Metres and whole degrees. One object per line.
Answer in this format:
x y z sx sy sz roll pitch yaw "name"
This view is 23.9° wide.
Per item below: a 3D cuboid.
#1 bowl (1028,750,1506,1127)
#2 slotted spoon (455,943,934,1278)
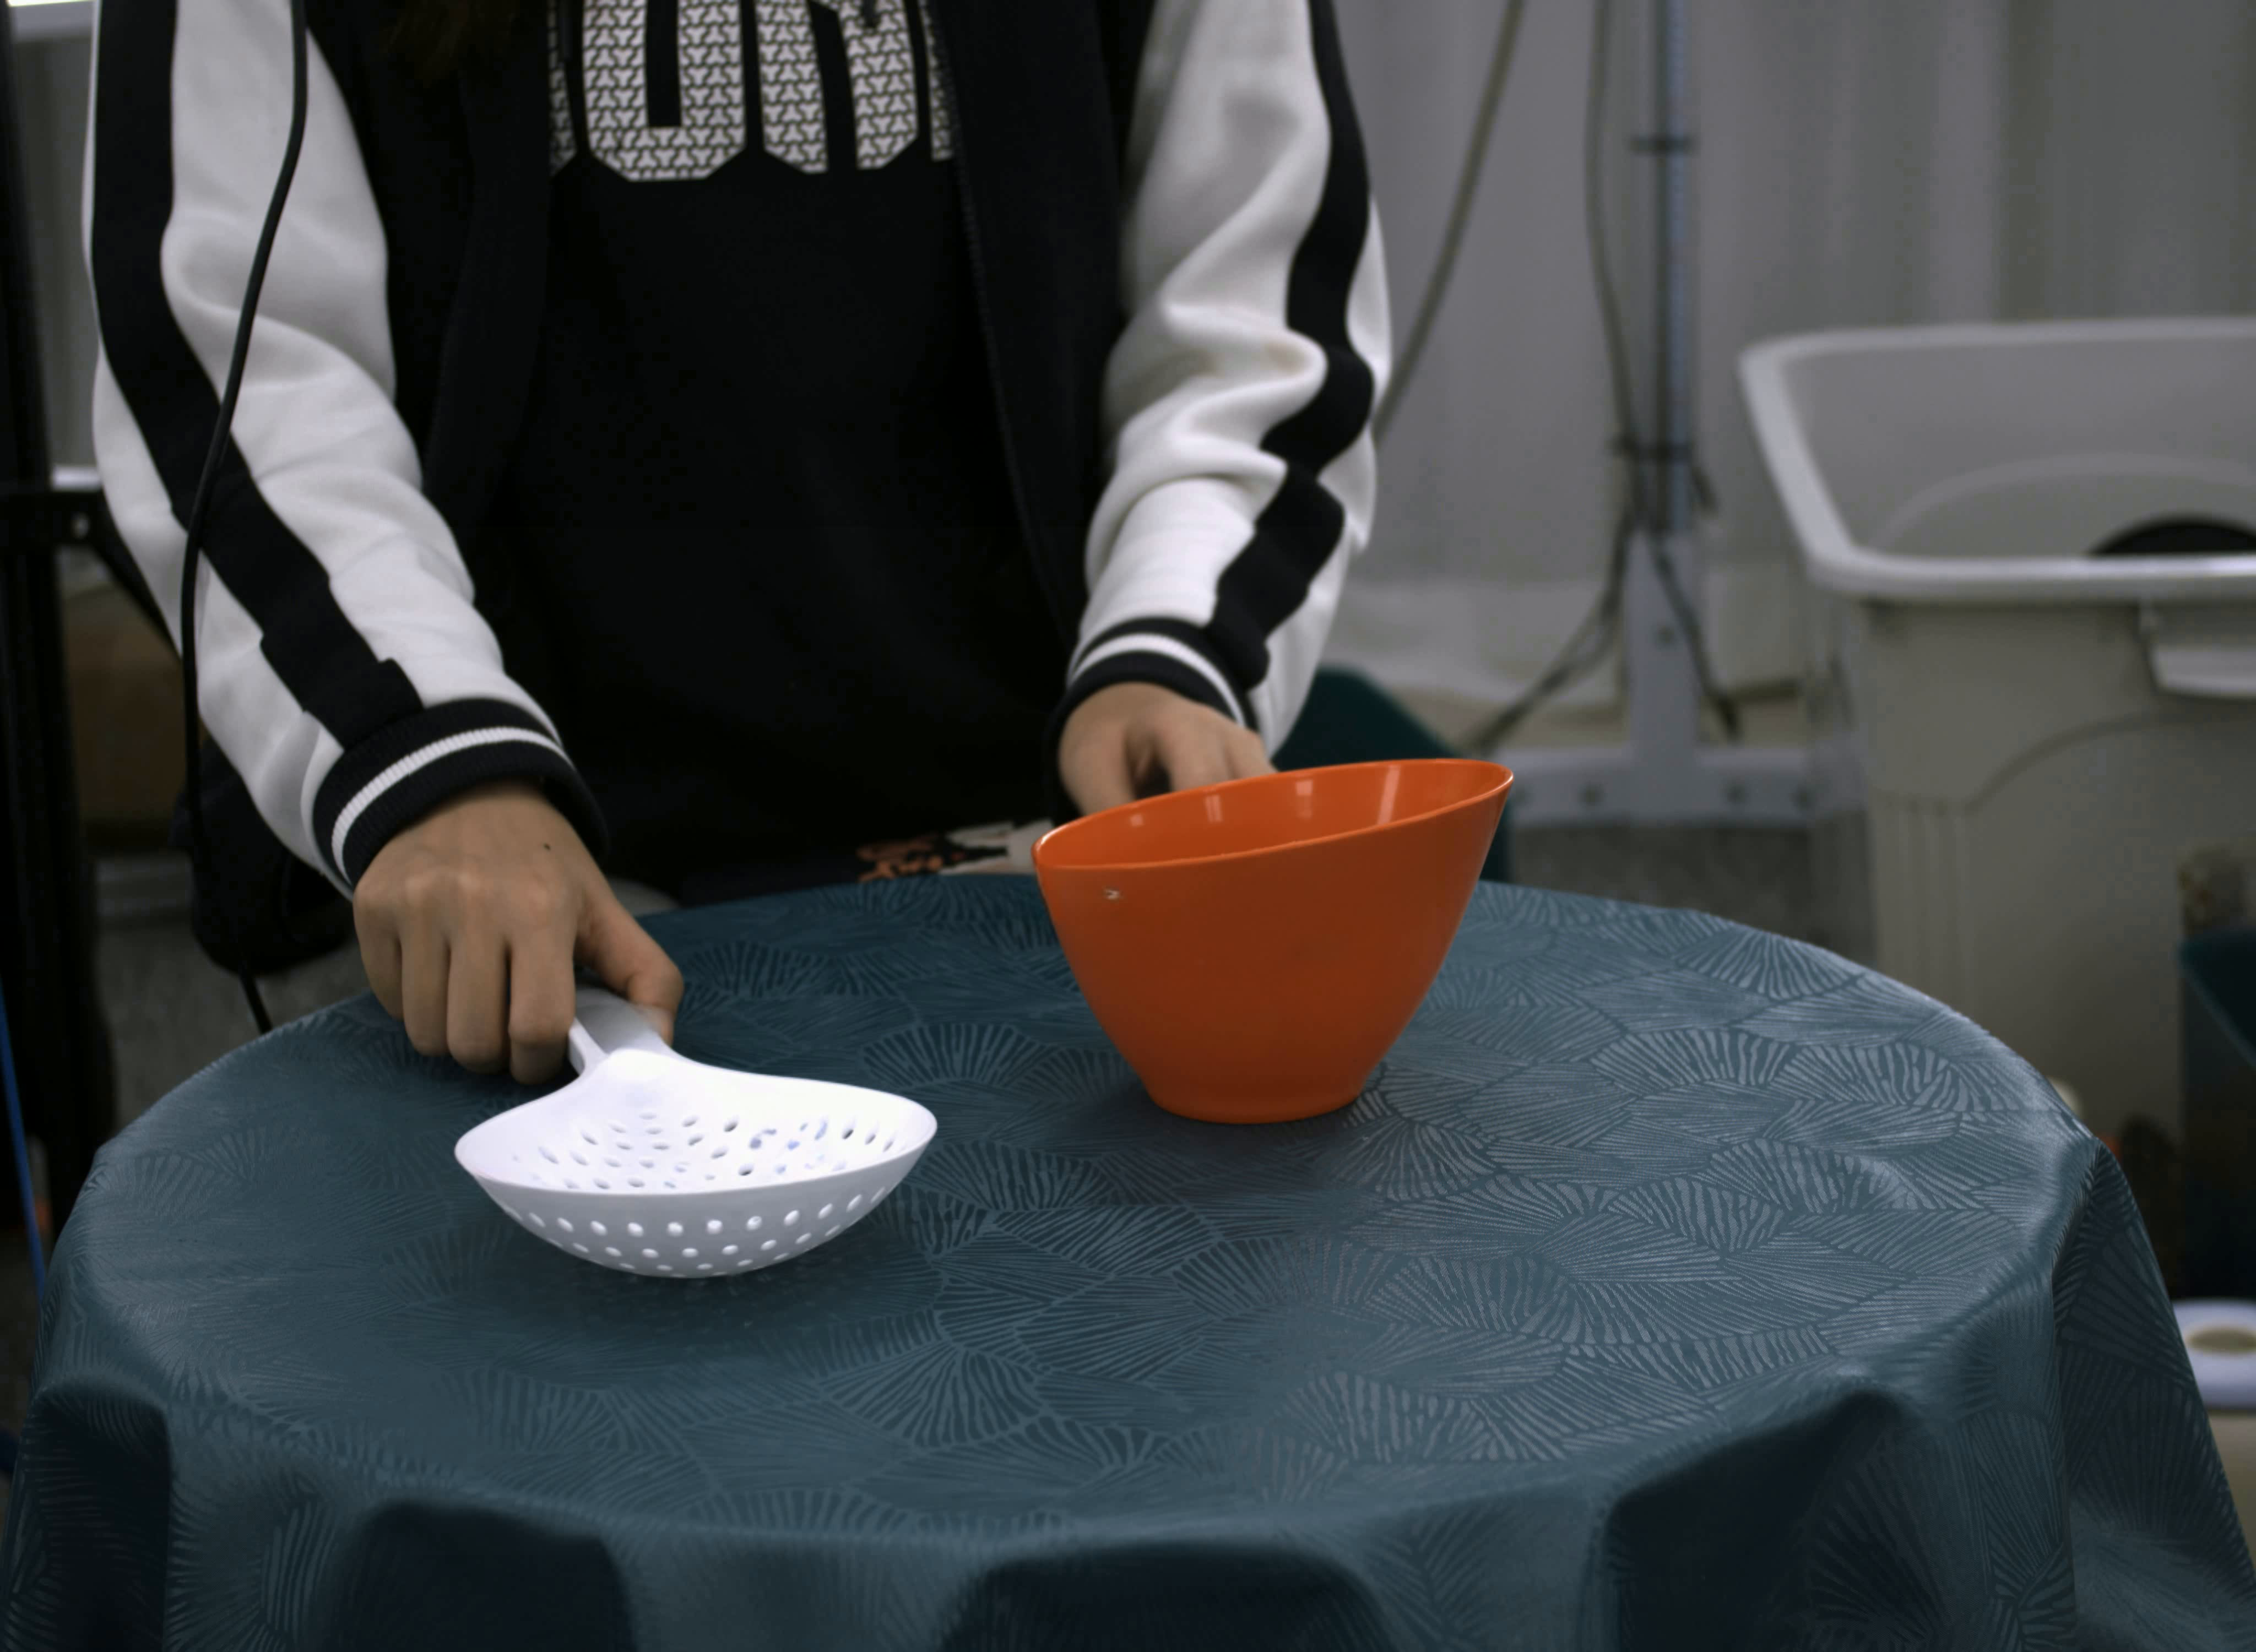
0.045 0.035 1.621 0.147 0.104 0.149 -5 17 0 "bowl"
-0.148 0.076 1.611 0.134 0.046 0.354 -3 15 -13 "slotted spoon"
